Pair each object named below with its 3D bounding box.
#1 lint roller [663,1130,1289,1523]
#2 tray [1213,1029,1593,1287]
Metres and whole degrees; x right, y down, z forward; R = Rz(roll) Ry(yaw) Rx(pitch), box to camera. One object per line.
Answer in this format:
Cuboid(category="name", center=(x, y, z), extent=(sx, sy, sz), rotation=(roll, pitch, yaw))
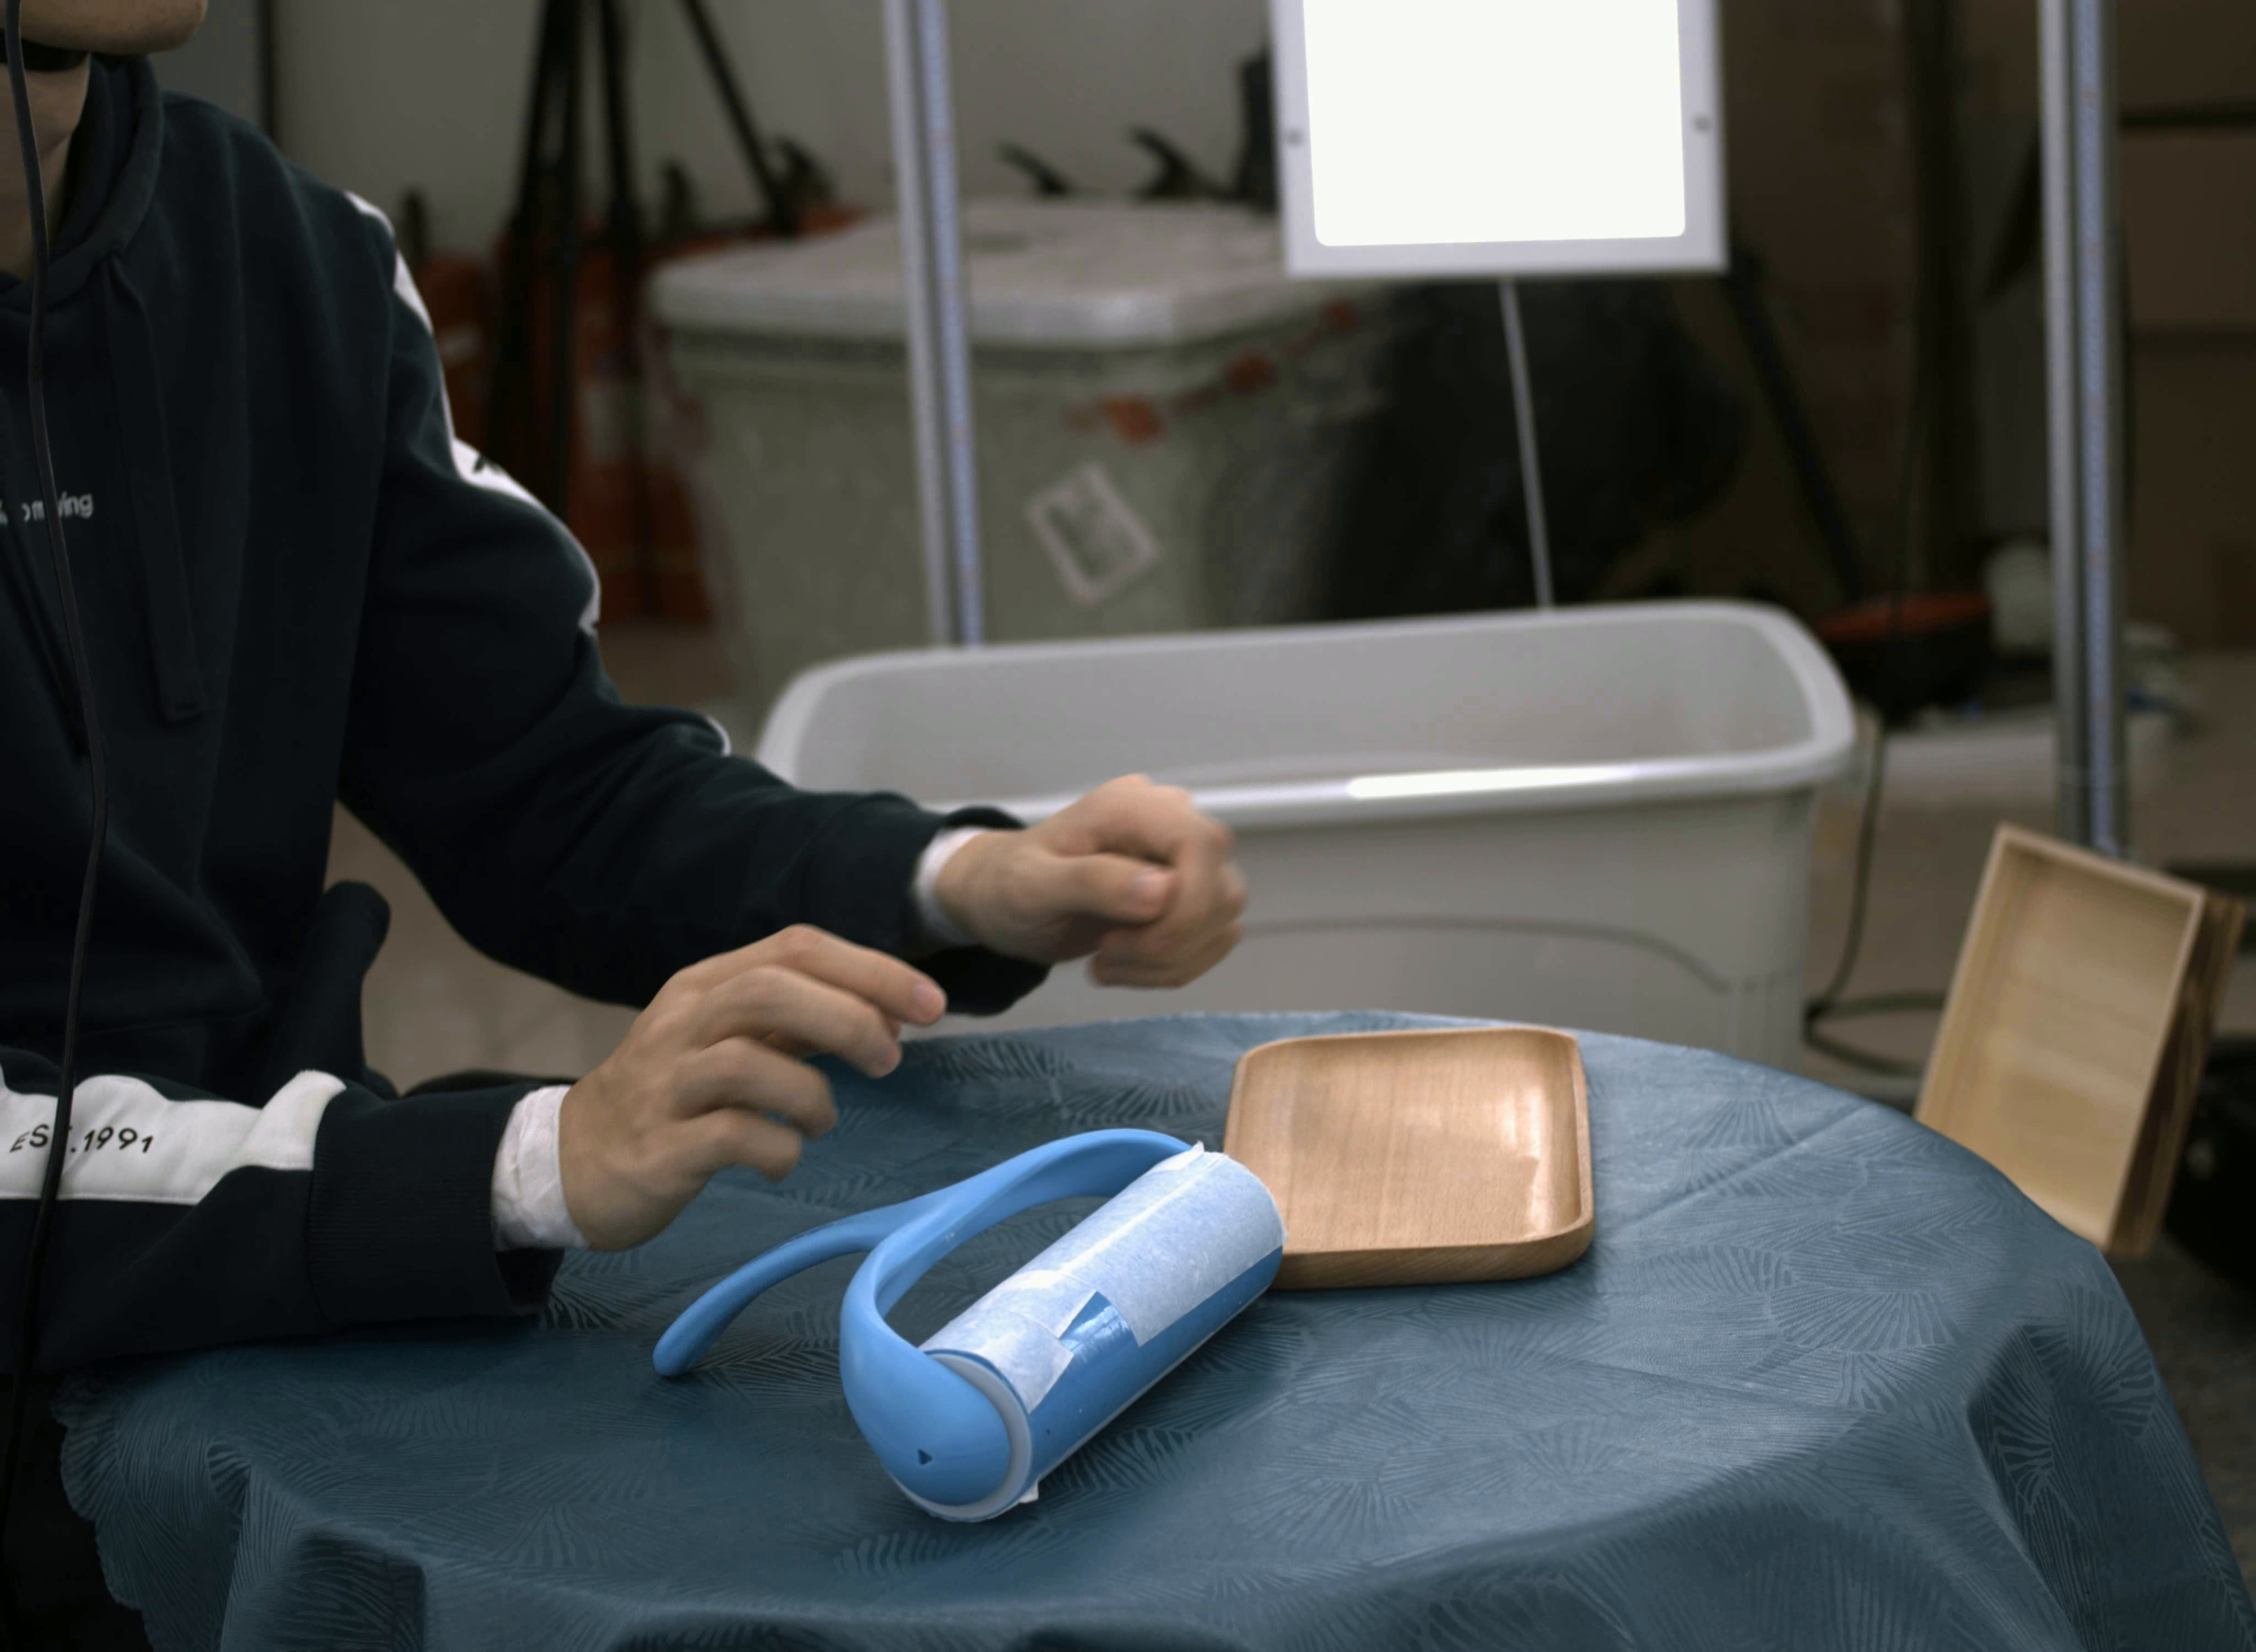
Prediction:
Cuboid(category="lint roller", center=(-0.066, 0.150, 1.703), extent=(0.183, 0.068, 0.224), rotation=(2, 17, 23))
Cuboid(category="tray", center=(0.095, 0.112, 1.884), extent=(0.131, 0.023, 0.249), rotation=(-6, 14, 7))
